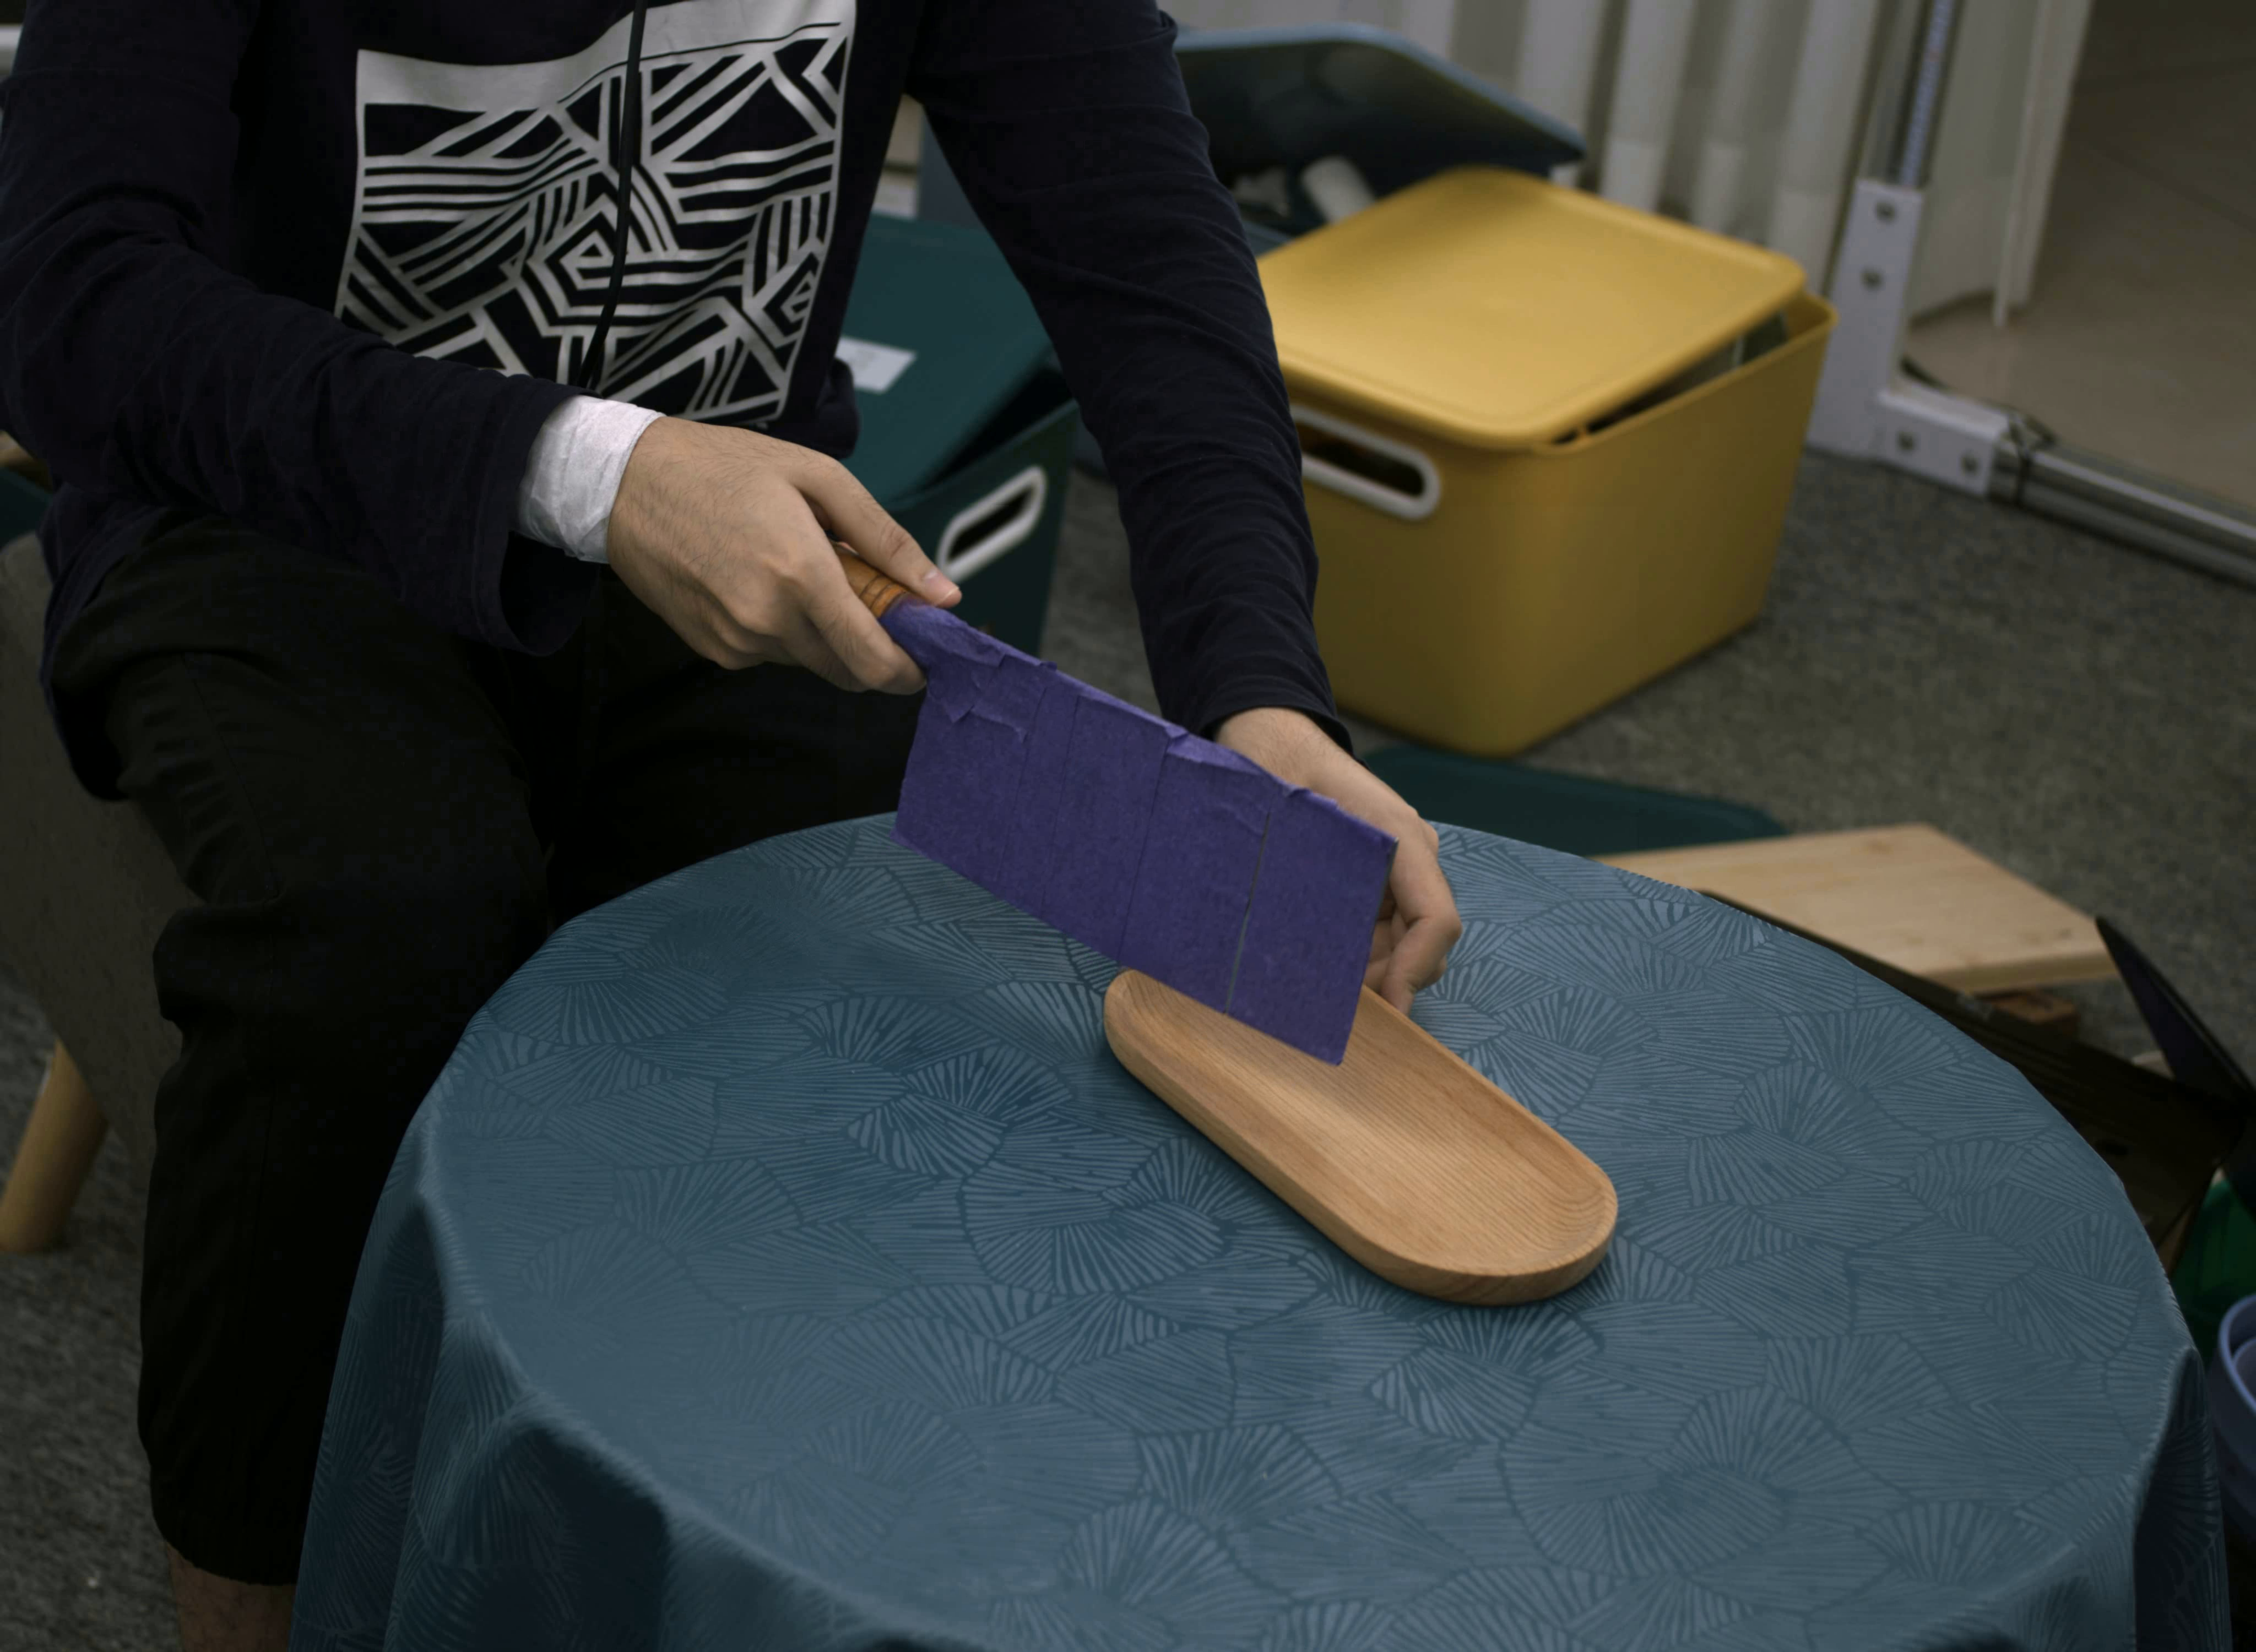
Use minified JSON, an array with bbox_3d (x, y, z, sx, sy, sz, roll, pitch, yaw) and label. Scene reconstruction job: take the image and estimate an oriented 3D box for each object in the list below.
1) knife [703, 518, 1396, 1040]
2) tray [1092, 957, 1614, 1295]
[{"bbox_3d":[-0.039,-0.016,1.902,0.317,0.104,0.032,27,23,34],"label":"knife"},{"bbox_3d":[0.076,0.099,1.849,0.101,0.020,0.233,-15,32,-33],"label":"tray"}]
